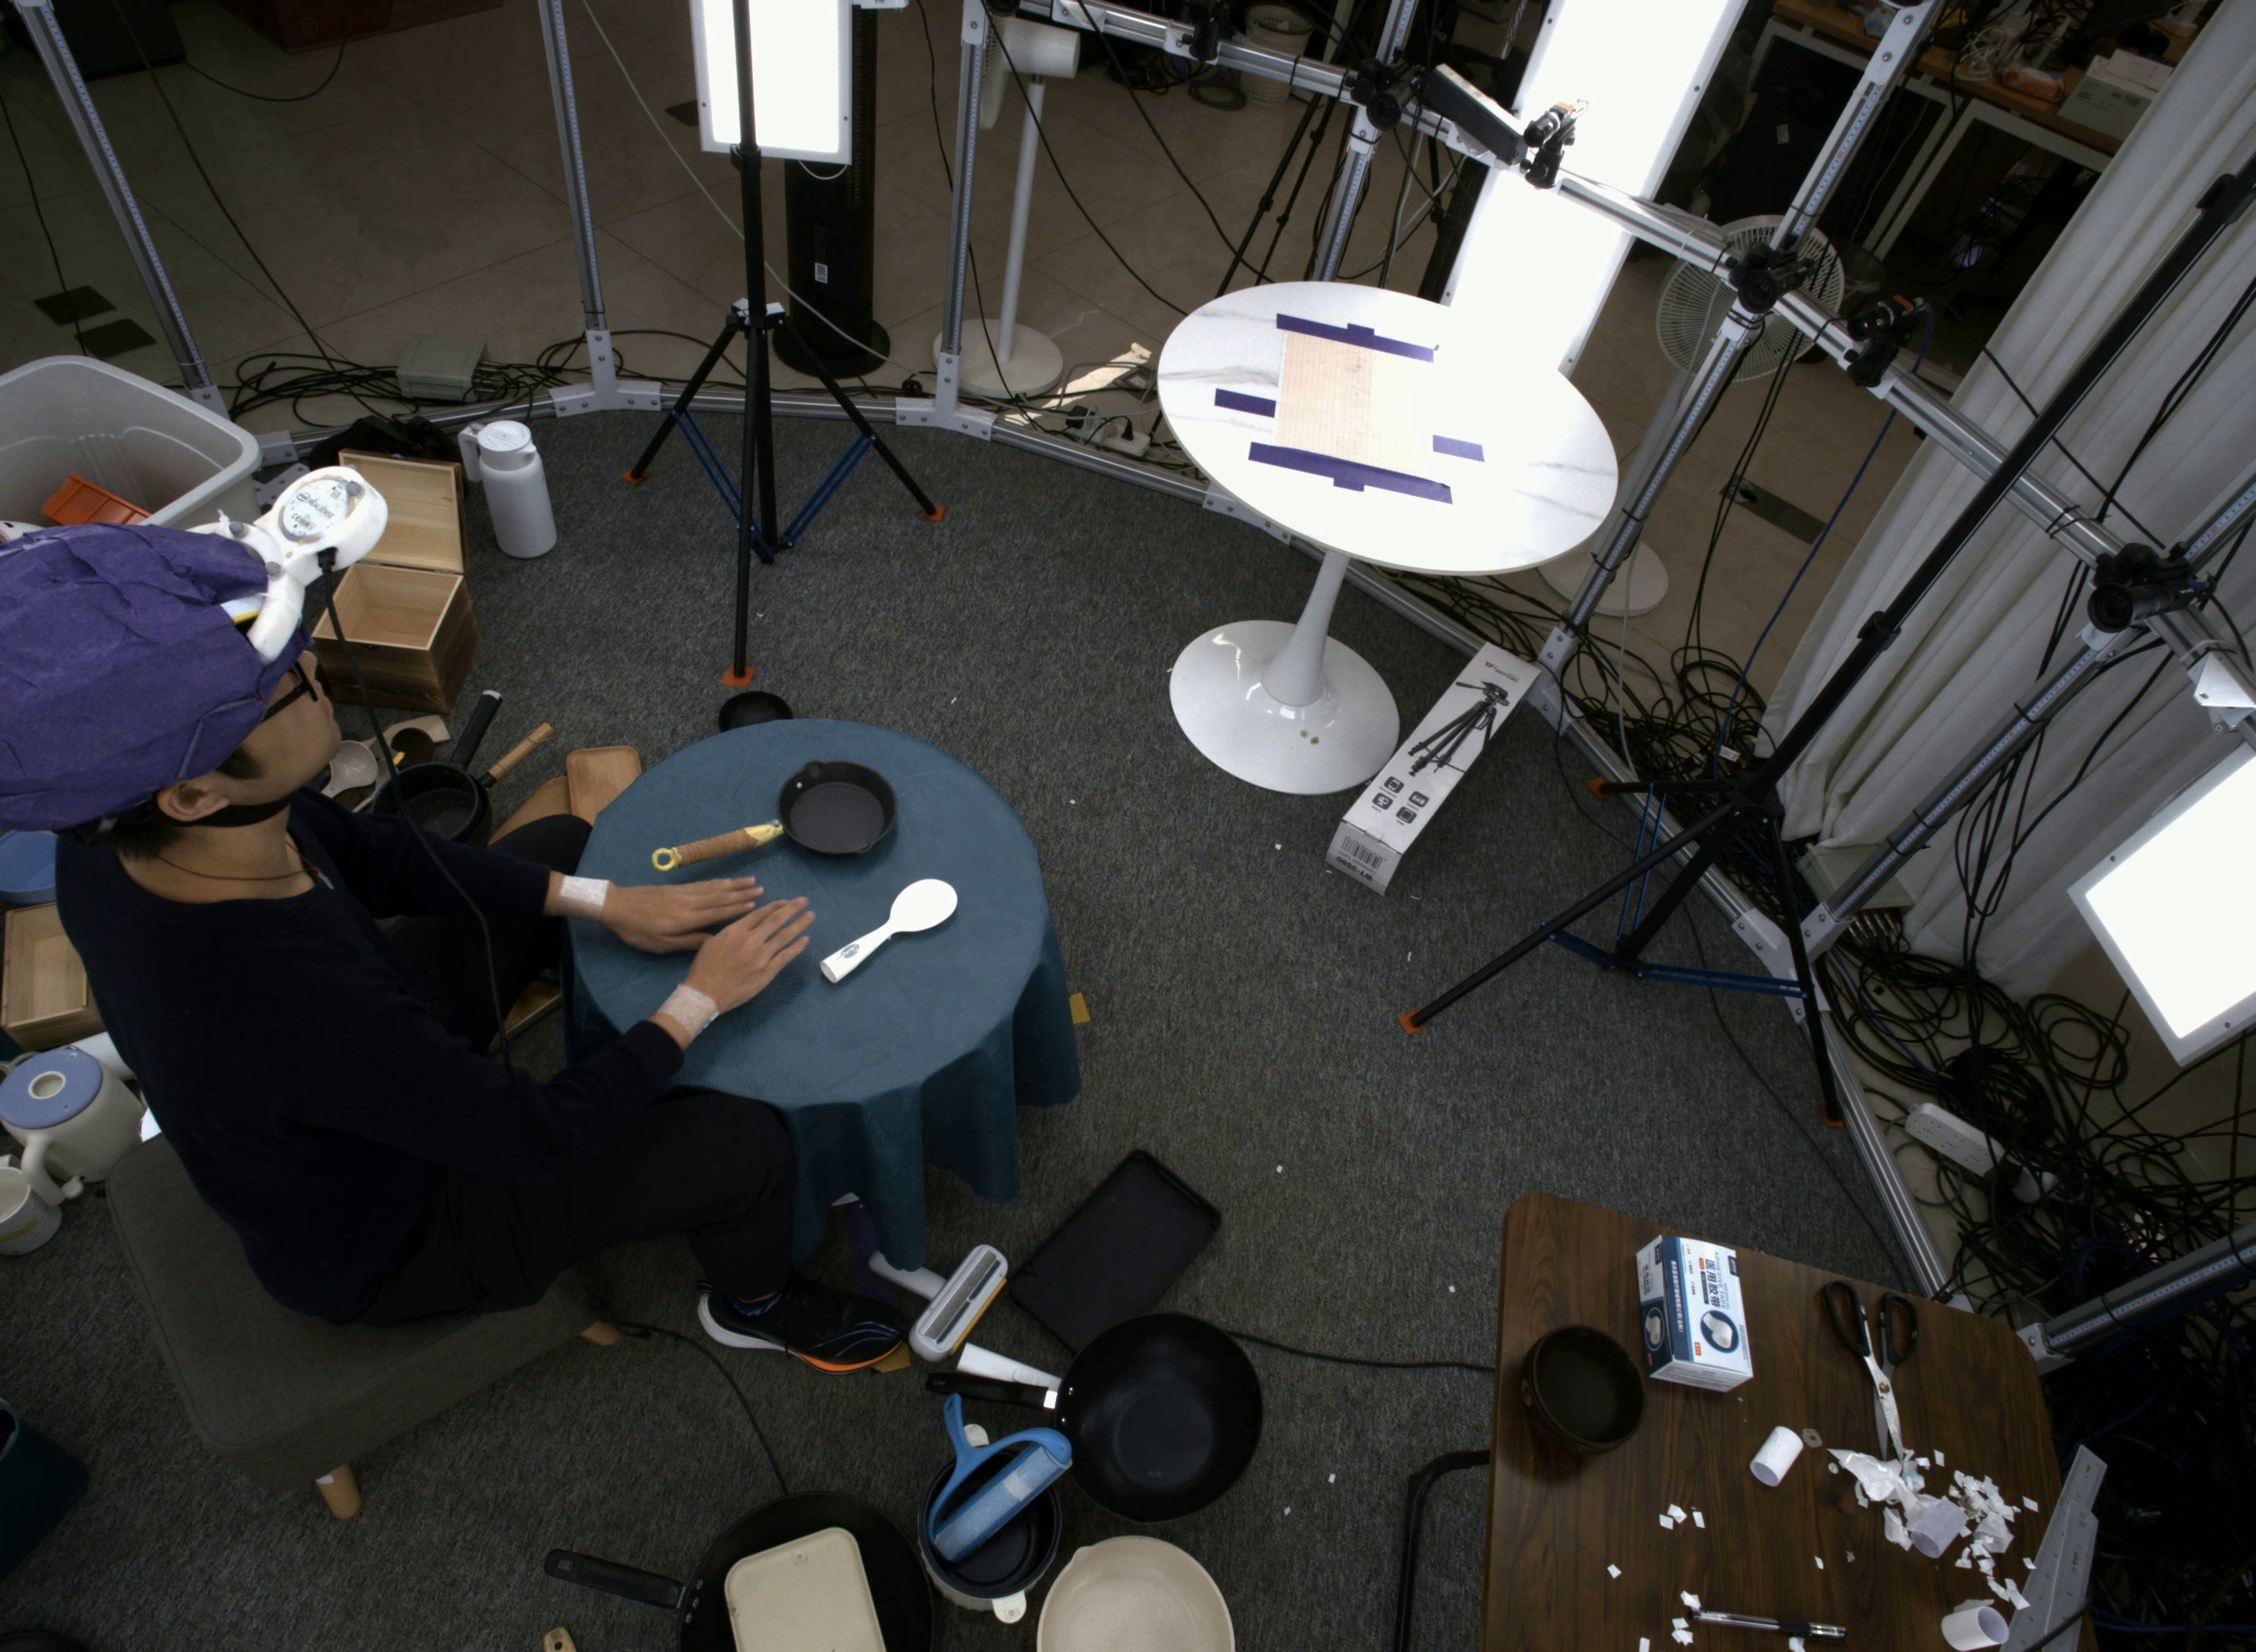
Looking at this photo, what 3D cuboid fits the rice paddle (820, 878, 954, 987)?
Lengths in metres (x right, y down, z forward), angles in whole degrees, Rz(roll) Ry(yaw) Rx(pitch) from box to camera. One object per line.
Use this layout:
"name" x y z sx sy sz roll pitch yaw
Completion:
"rice paddle" -0.299 0.127 1.633 0.067 0.030 0.205 42 55 14

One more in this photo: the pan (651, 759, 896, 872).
"pan" -0.456 0.002 1.671 0.326 0.050 0.165 -20 61 -29
